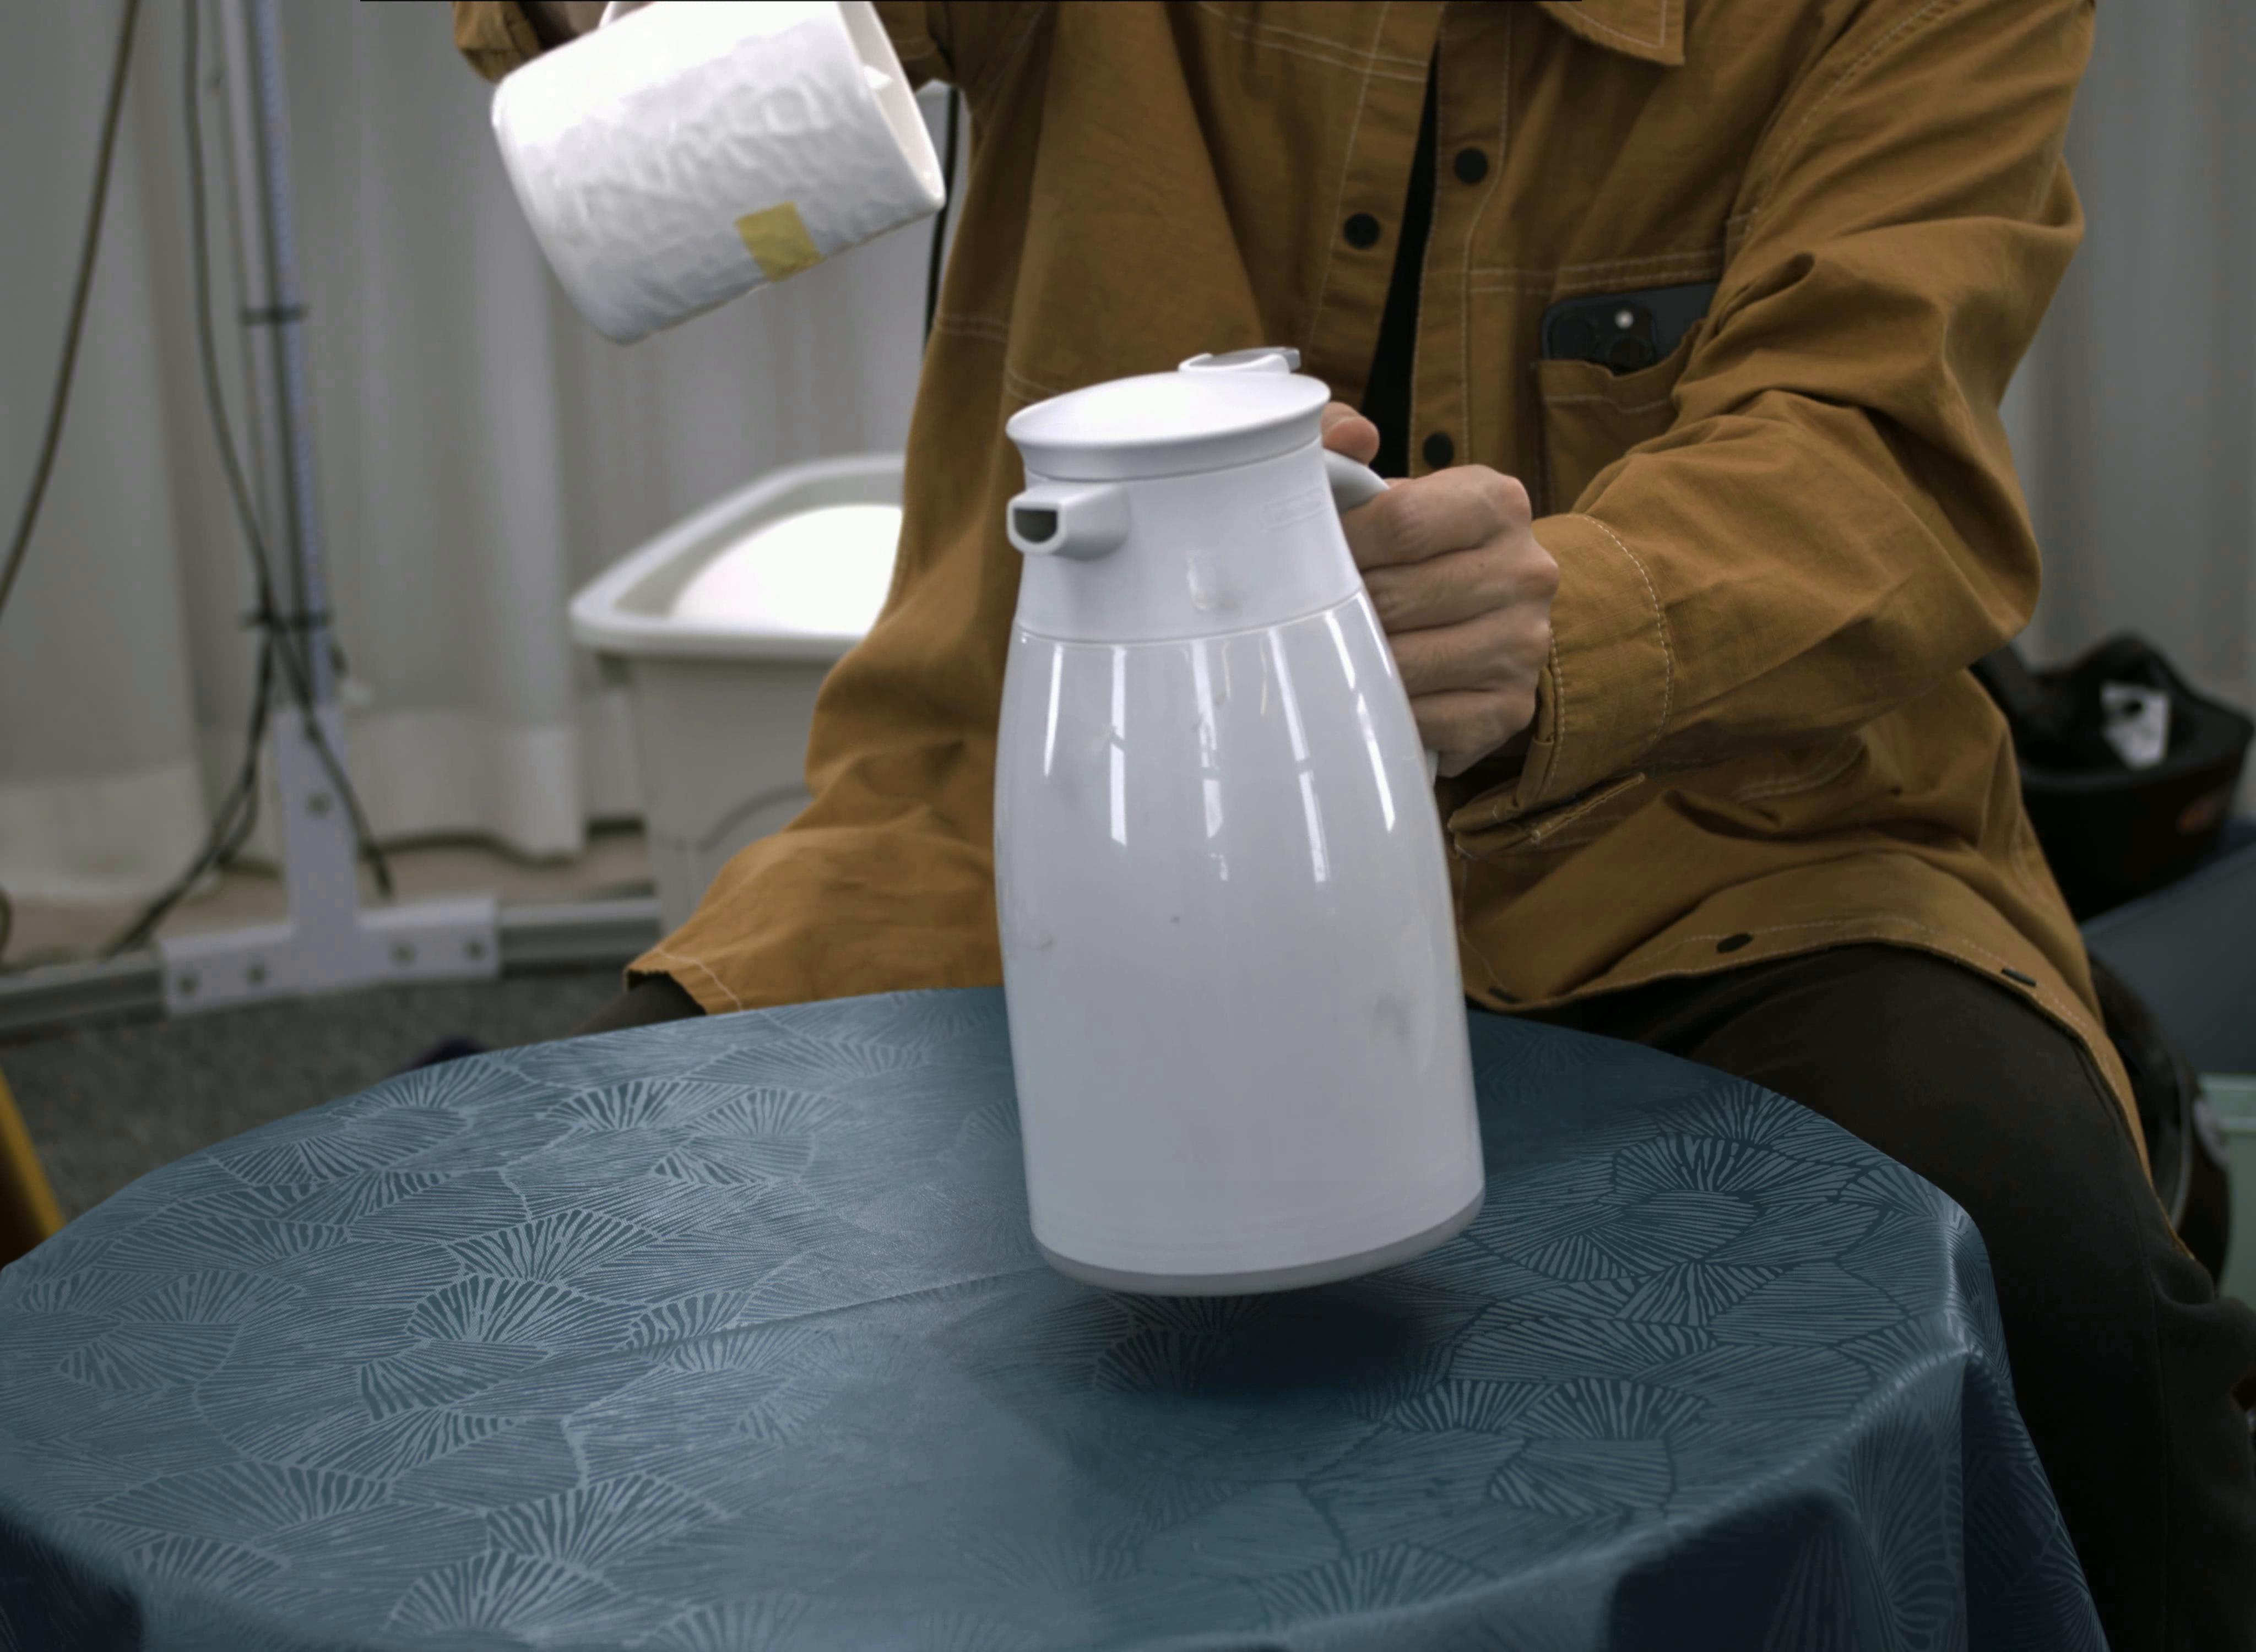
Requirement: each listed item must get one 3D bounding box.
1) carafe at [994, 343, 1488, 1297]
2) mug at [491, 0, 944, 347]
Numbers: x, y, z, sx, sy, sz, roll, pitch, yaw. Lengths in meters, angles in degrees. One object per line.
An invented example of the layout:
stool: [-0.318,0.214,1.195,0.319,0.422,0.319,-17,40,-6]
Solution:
carafe: [0.035,-0.010,1.566,0.133,0.248,0.168,3,15,38]
mug: [-0.119,-0.202,1.535,0.101,0.084,0.120,-24,50,7]
